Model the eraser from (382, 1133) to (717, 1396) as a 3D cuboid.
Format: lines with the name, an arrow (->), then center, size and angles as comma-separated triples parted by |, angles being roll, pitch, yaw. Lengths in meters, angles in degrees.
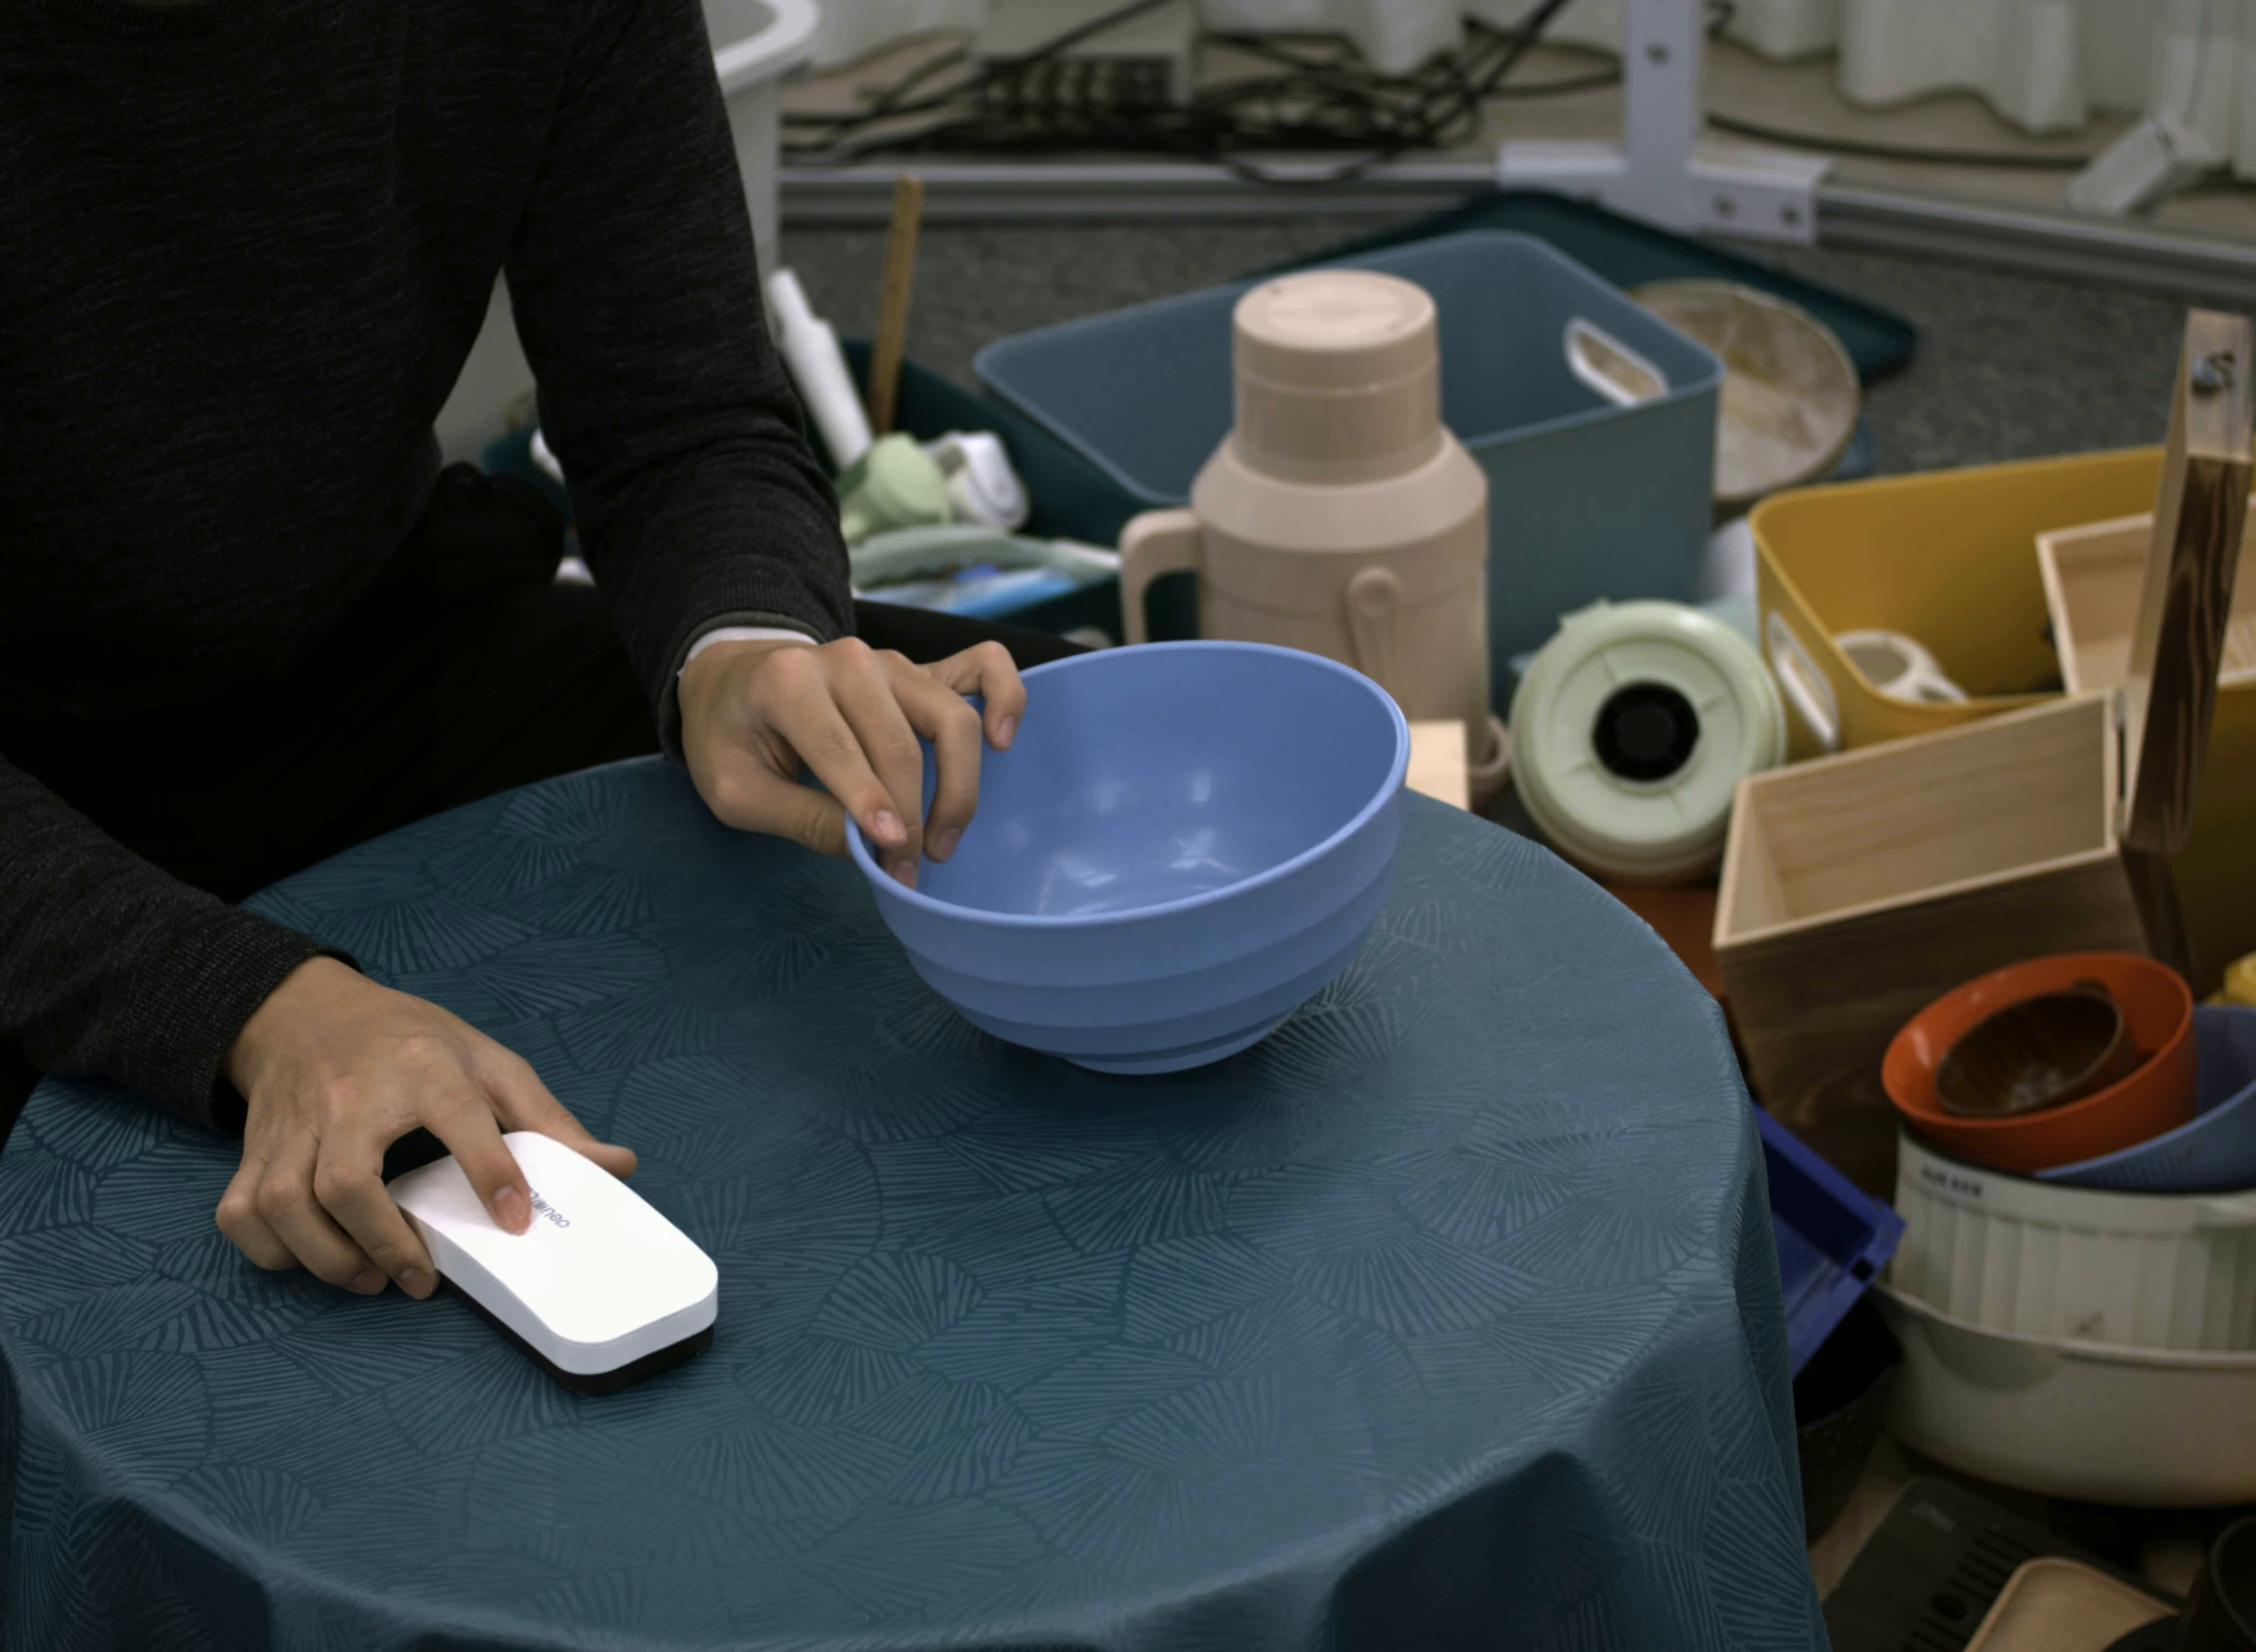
eraser -> -0.186, 0.138, 1.814 | 0.064, 0.034, 0.131 | -20, 33, -31

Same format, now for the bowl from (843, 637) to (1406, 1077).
bowl -> 0.006, 0.023, 1.940 | 0.195, 0.094, 0.199 | -8, 28, 5
